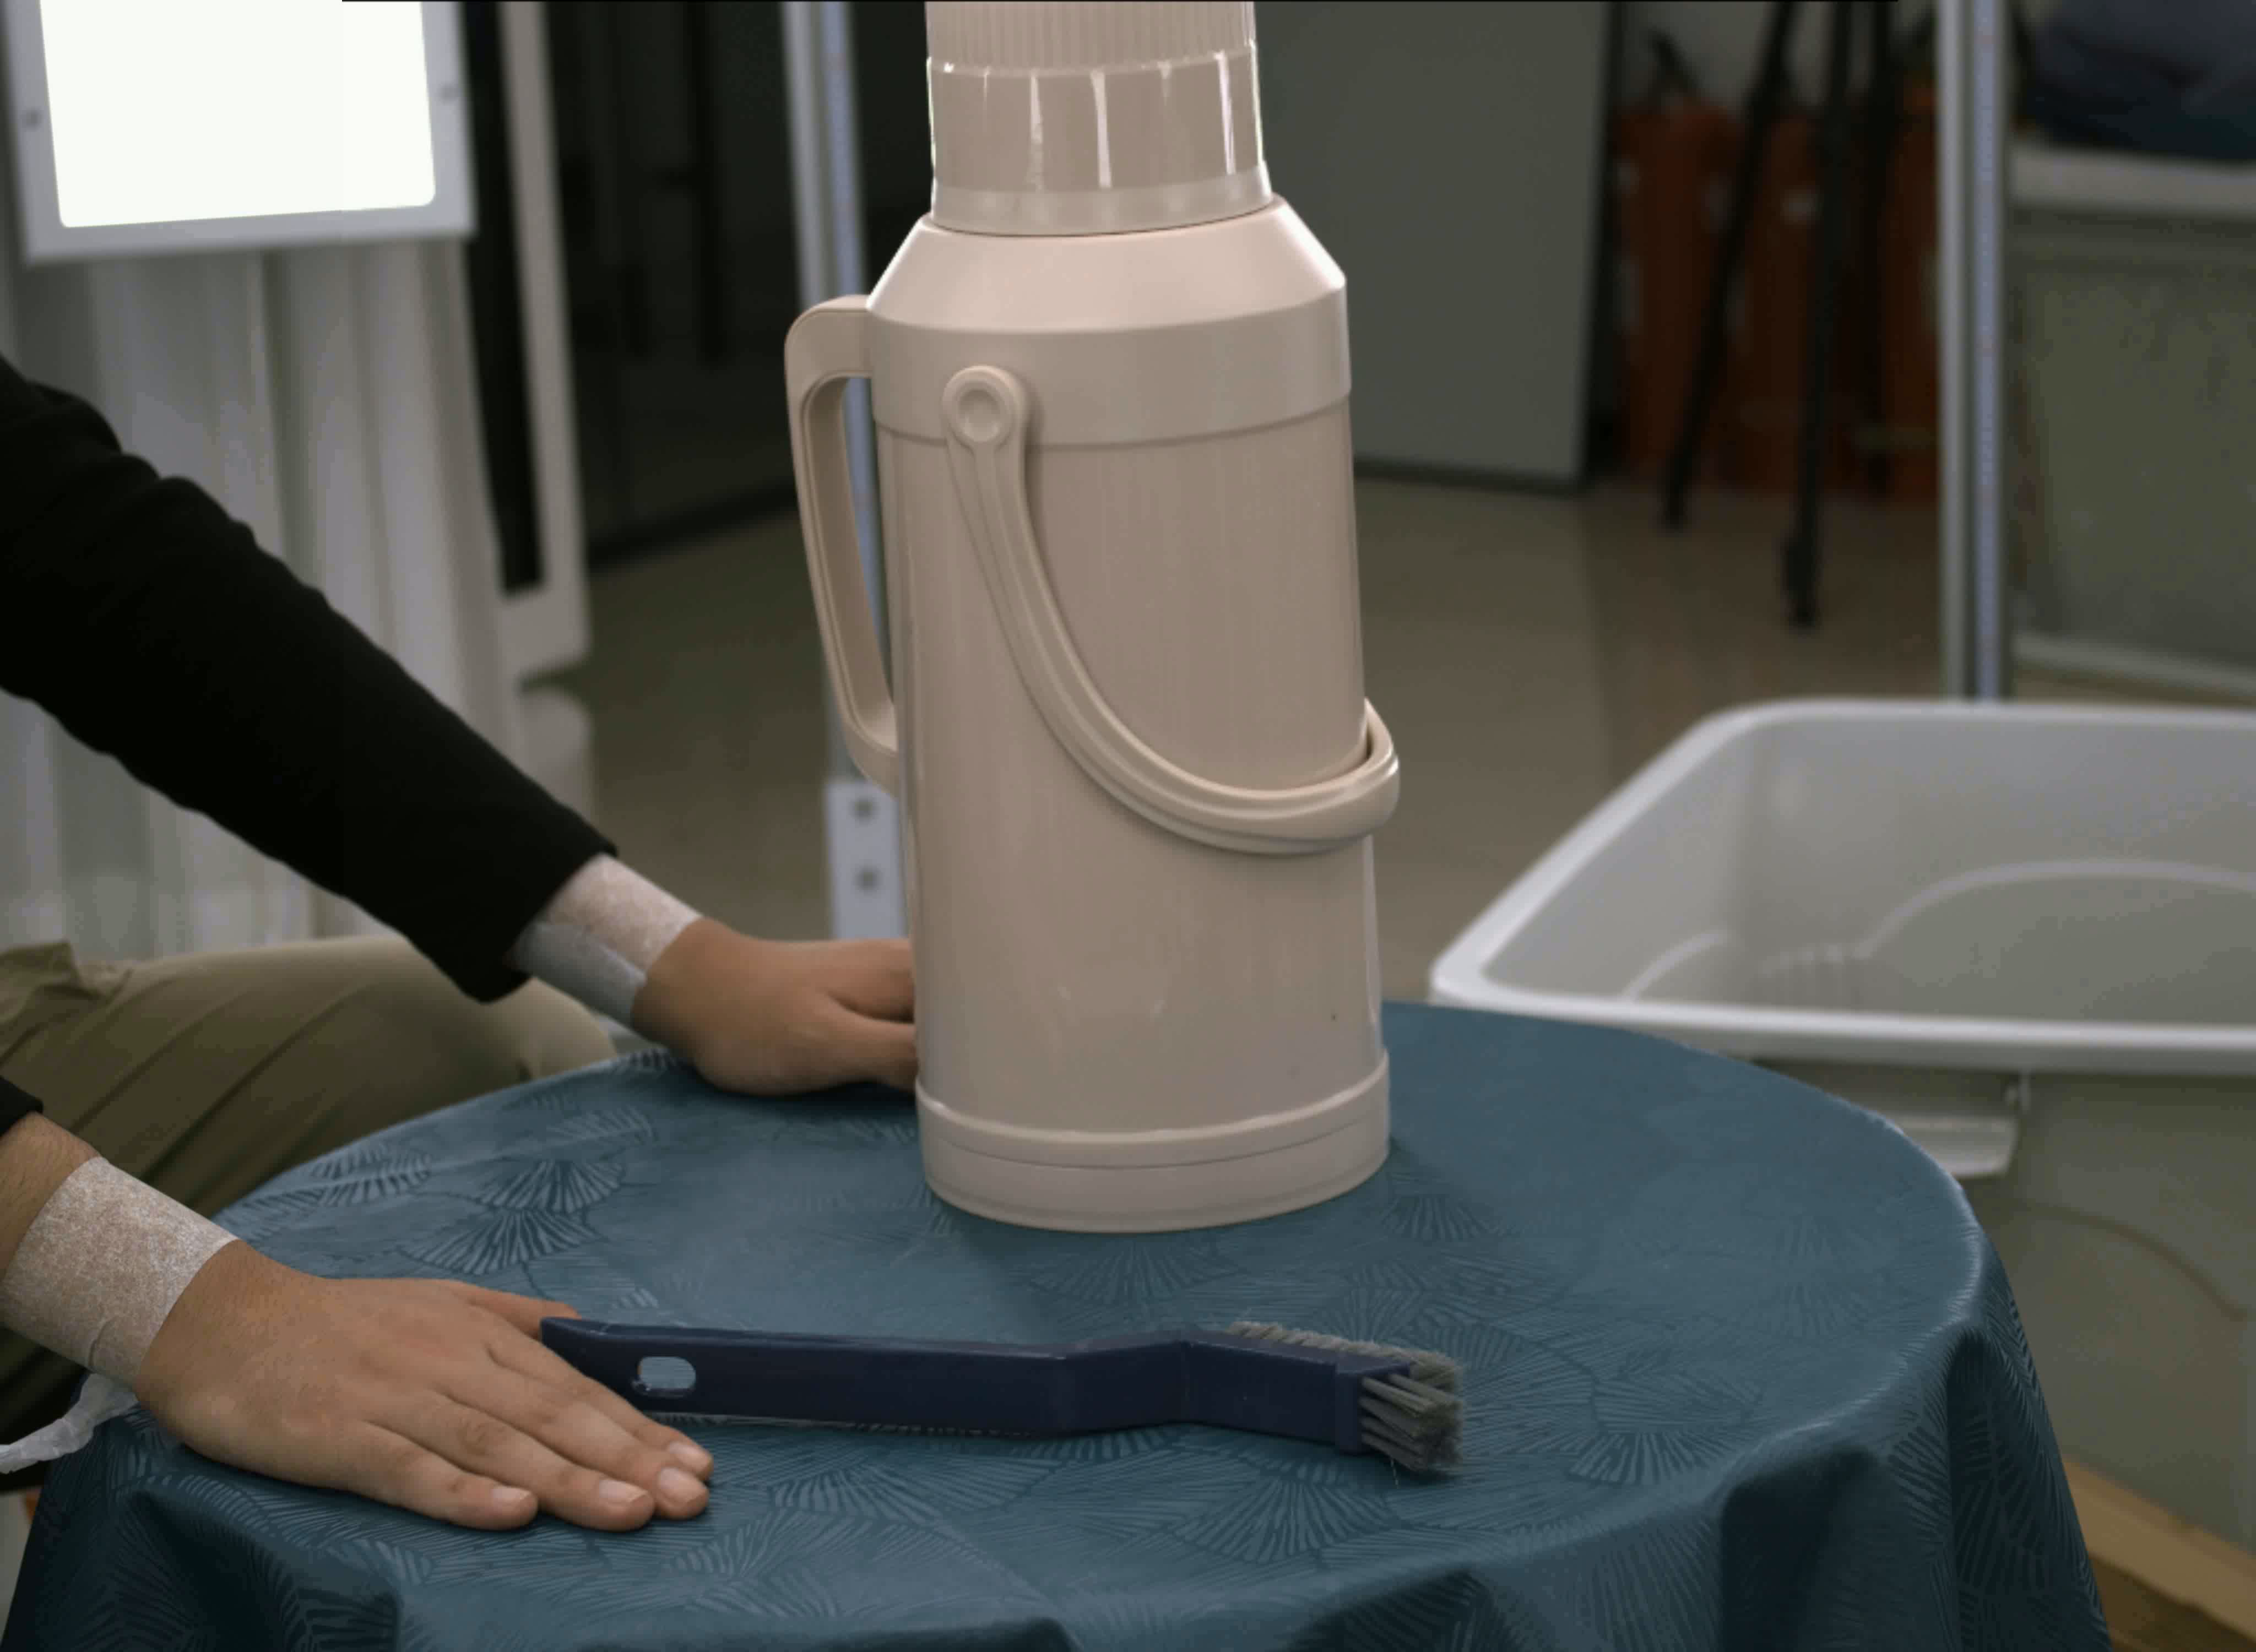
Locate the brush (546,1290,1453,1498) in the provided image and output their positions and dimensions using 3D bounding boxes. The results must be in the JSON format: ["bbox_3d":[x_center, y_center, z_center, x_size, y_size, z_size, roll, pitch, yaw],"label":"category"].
[{"bbox_3d":[-0.041,0.161,1.548,0.271,0.034,0.095,0,13,9],"label":"brush"}]

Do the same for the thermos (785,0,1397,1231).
[{"bbox_3d":[-0.014,-0.083,1.767,0.207,0.411,0.173,4,17,28],"label":"thermos"}]
